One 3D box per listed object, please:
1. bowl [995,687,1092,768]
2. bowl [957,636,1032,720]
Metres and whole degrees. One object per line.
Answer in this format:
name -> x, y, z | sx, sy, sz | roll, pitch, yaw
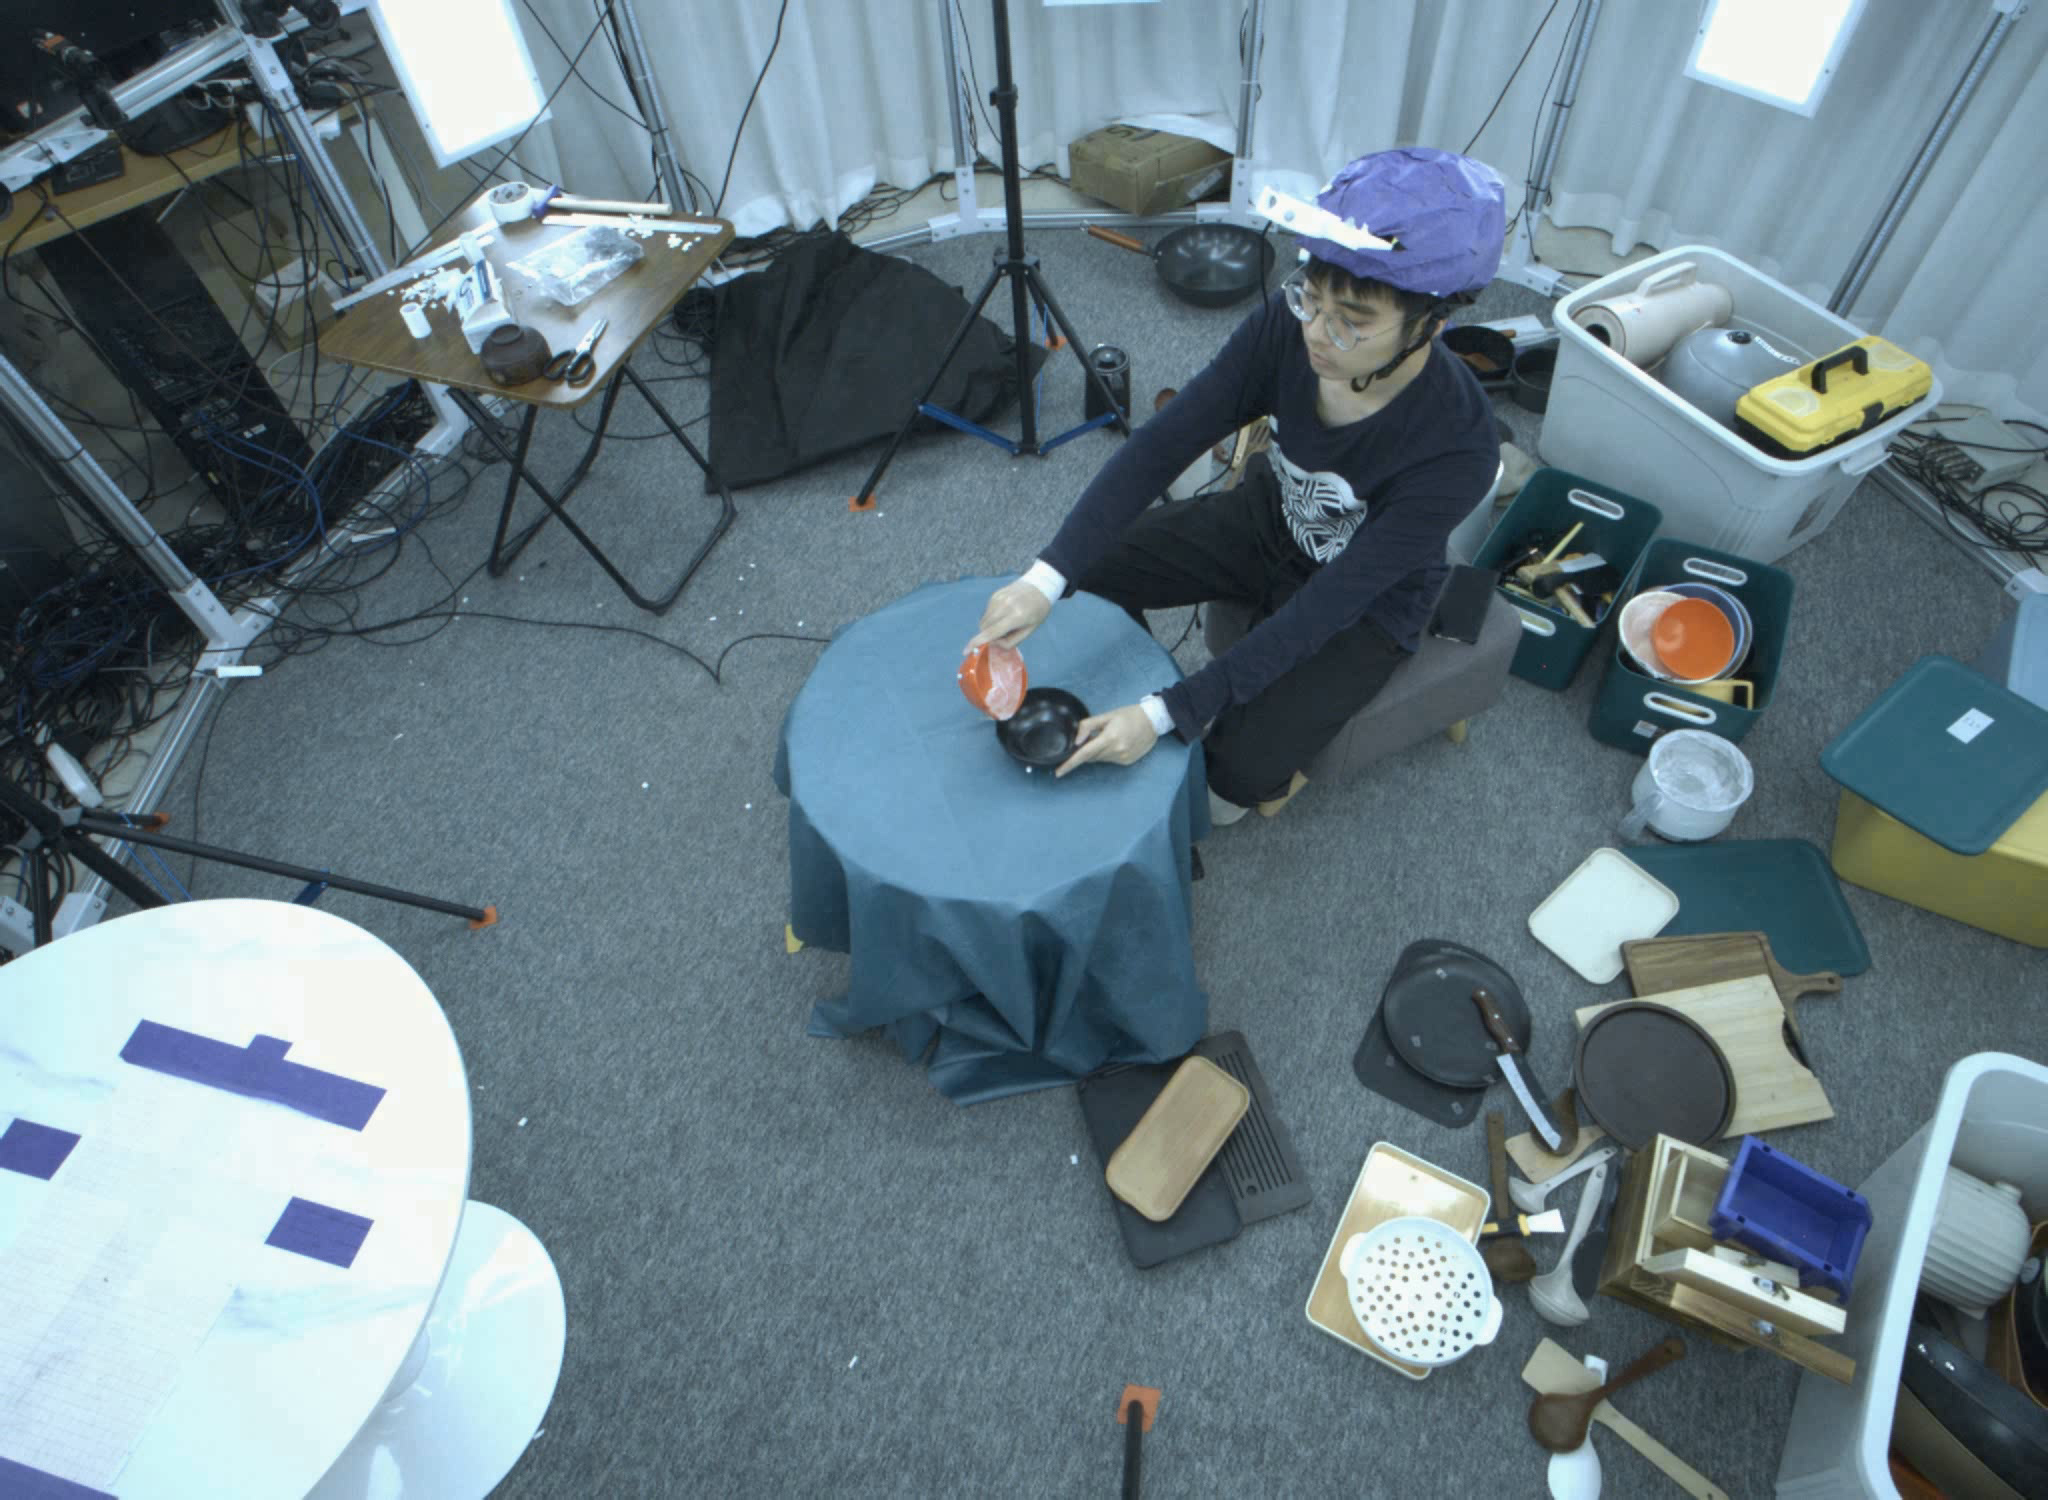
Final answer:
bowl -> 0.028, -0.024, 1.783 | 0.140, 0.050, 0.138 | 2, 52, -2
bowl -> -0.049, -0.099, 1.719 | 0.050, 0.121, 0.119 | -4, 43, 49
